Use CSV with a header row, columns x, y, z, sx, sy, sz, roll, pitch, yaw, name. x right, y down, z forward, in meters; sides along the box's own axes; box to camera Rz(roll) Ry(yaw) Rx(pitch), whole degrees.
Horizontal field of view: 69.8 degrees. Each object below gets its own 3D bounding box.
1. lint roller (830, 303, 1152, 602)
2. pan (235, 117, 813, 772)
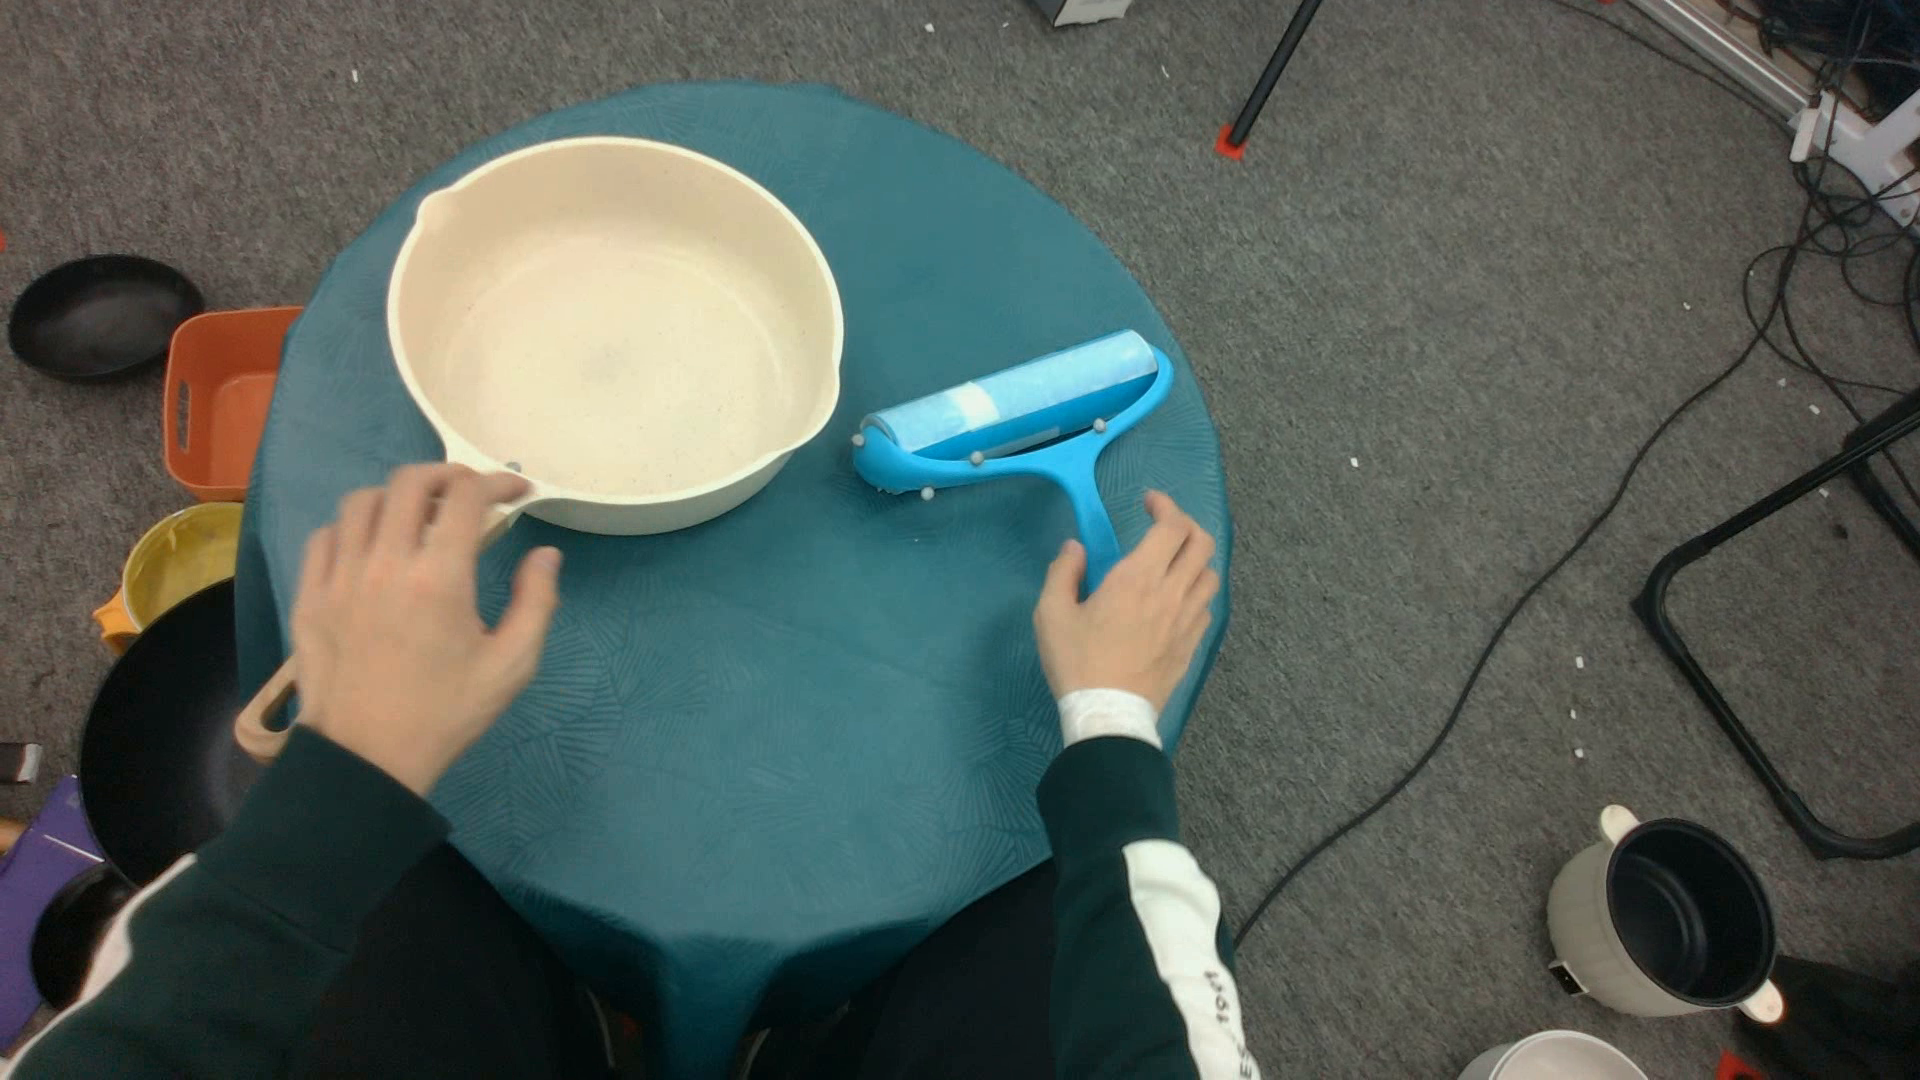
x,y,z,sx,sy,sz,roll,pitch,yaw,name
0.052,-0.050,0.867,0.230,0.067,0.180,-25,73,-25,lint roller
-0.251,-0.054,0.769,0.263,0.101,0.437,27,62,-2,pan
